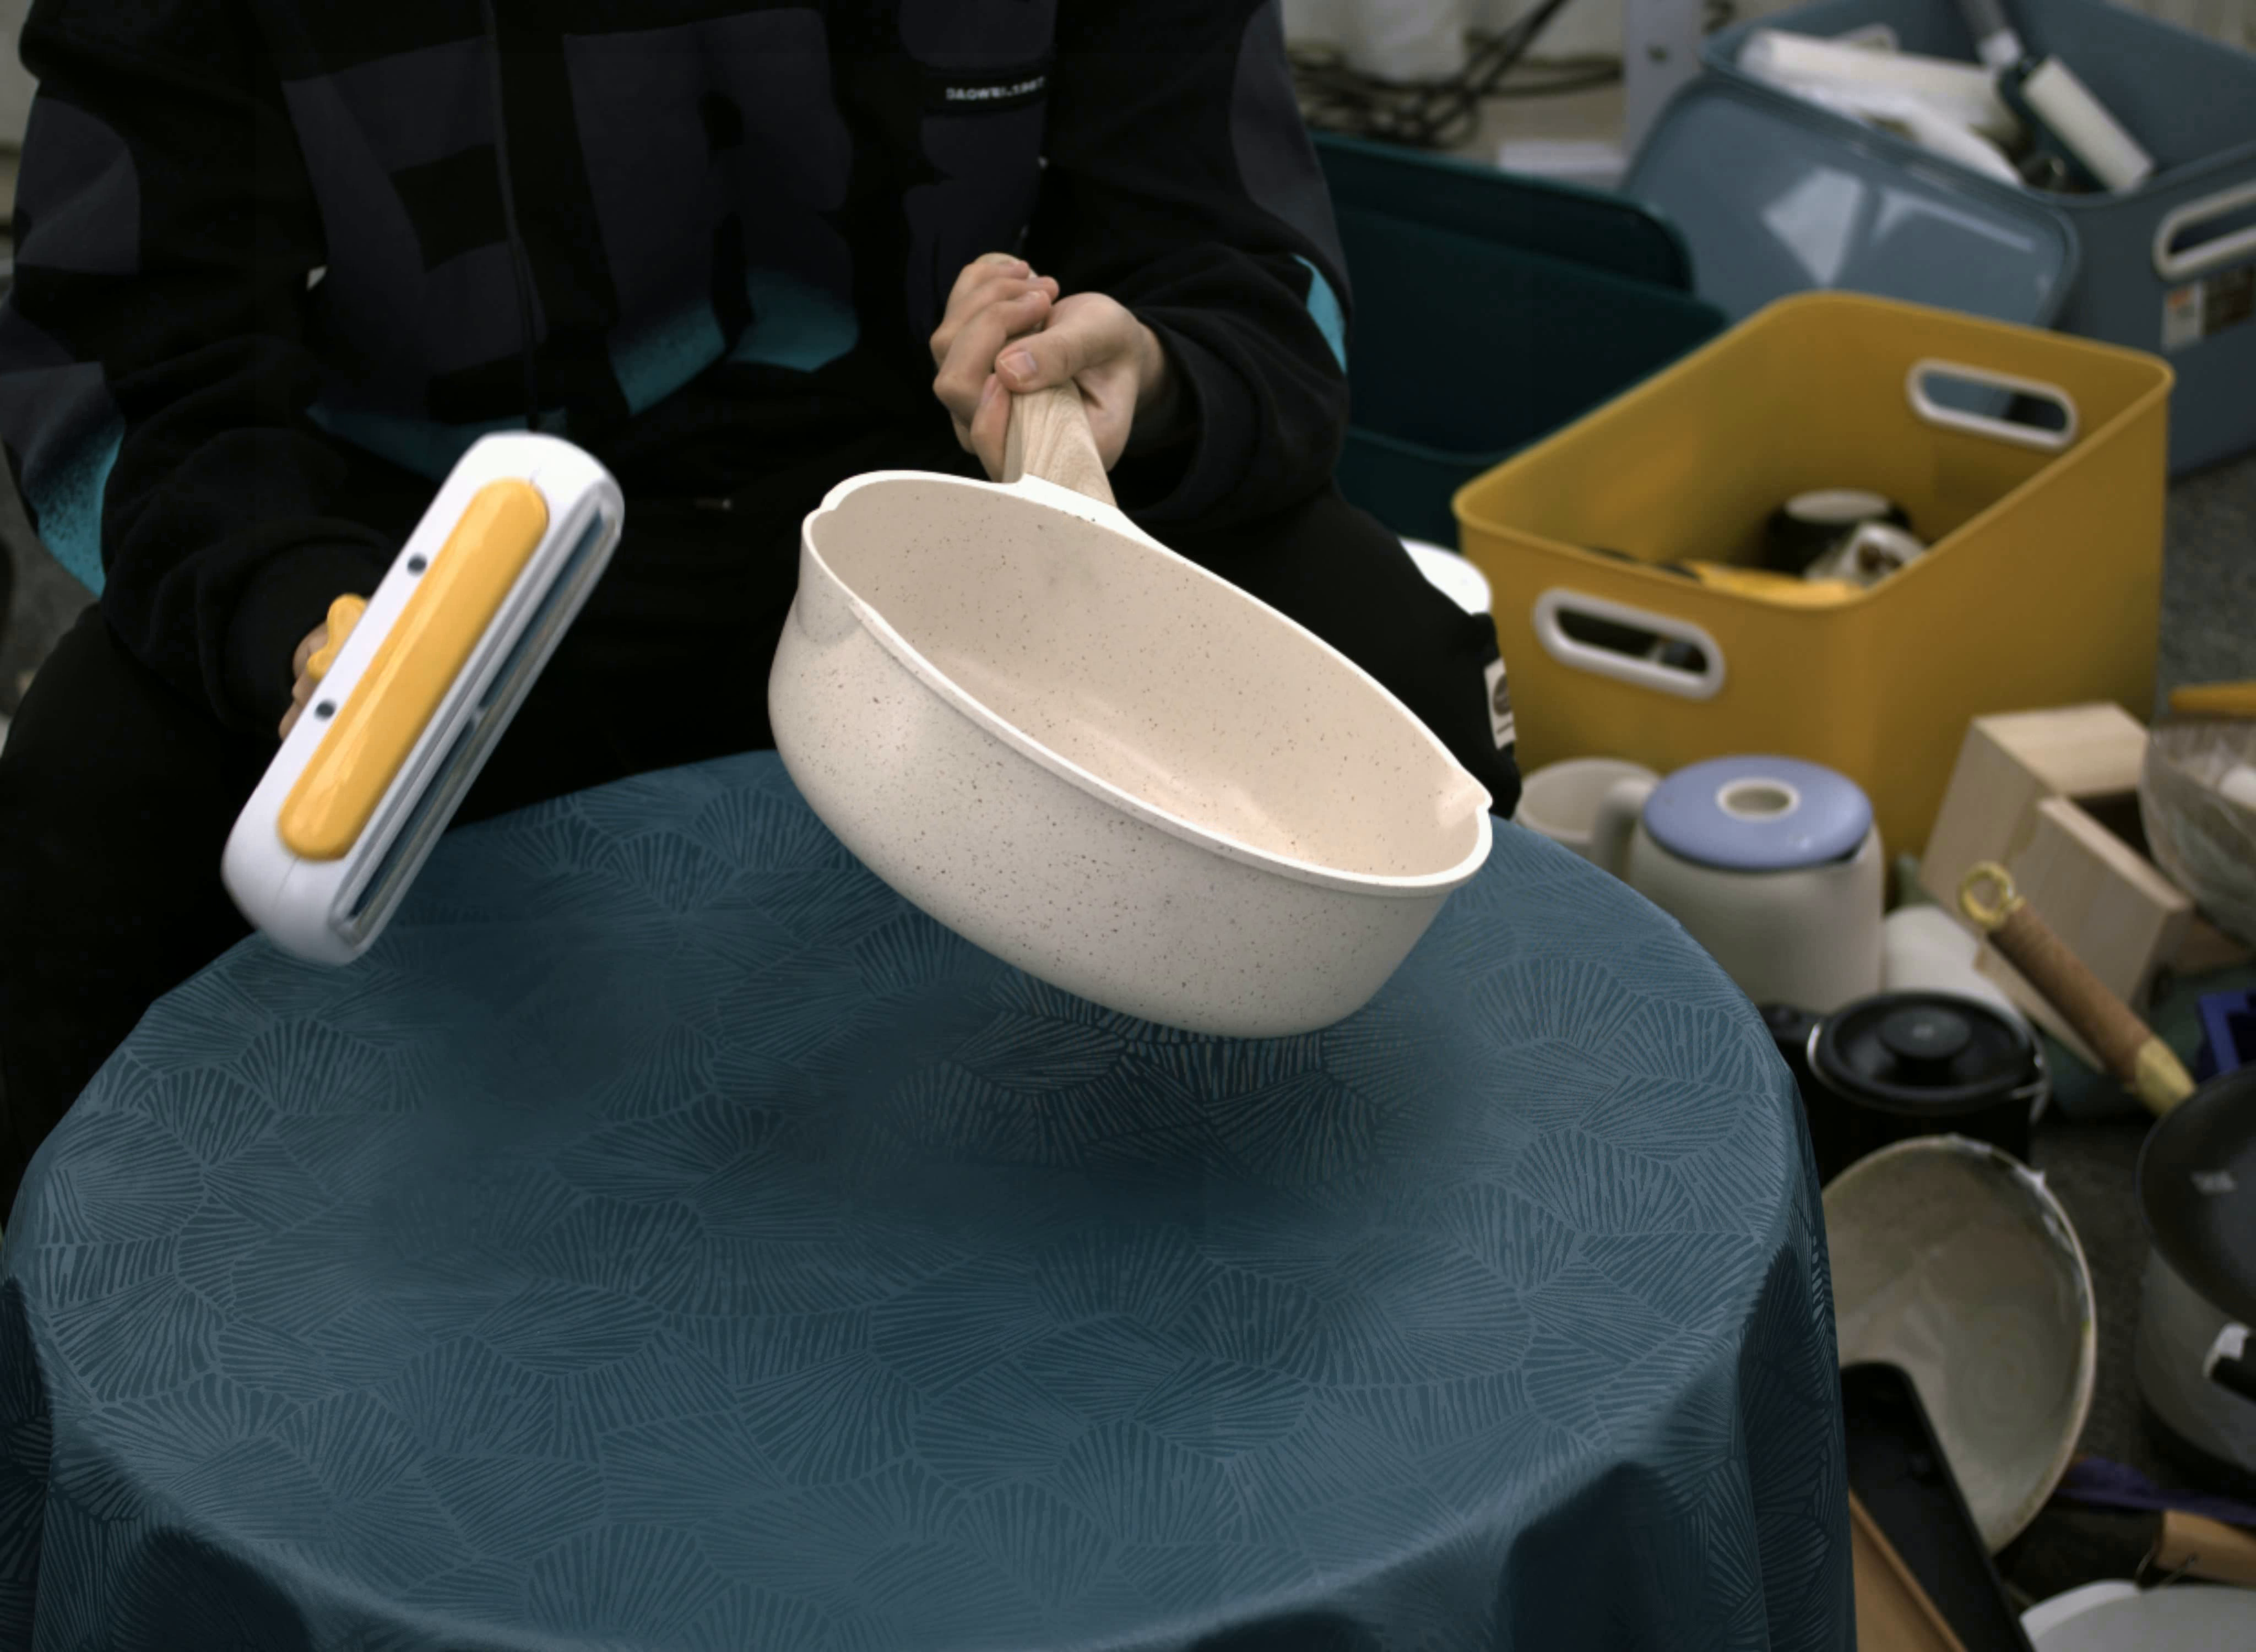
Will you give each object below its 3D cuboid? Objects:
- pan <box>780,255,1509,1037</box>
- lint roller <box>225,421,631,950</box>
[{"bbox_3d":[-0.020,-0.068,1.957,0.263,0.101,0.440,17,23,-23],"label":"pan"},{"bbox_3d":[-0.241,-0.034,1.922,0.074,0.190,0.195,26,73,4],"label":"lint roller"}]
